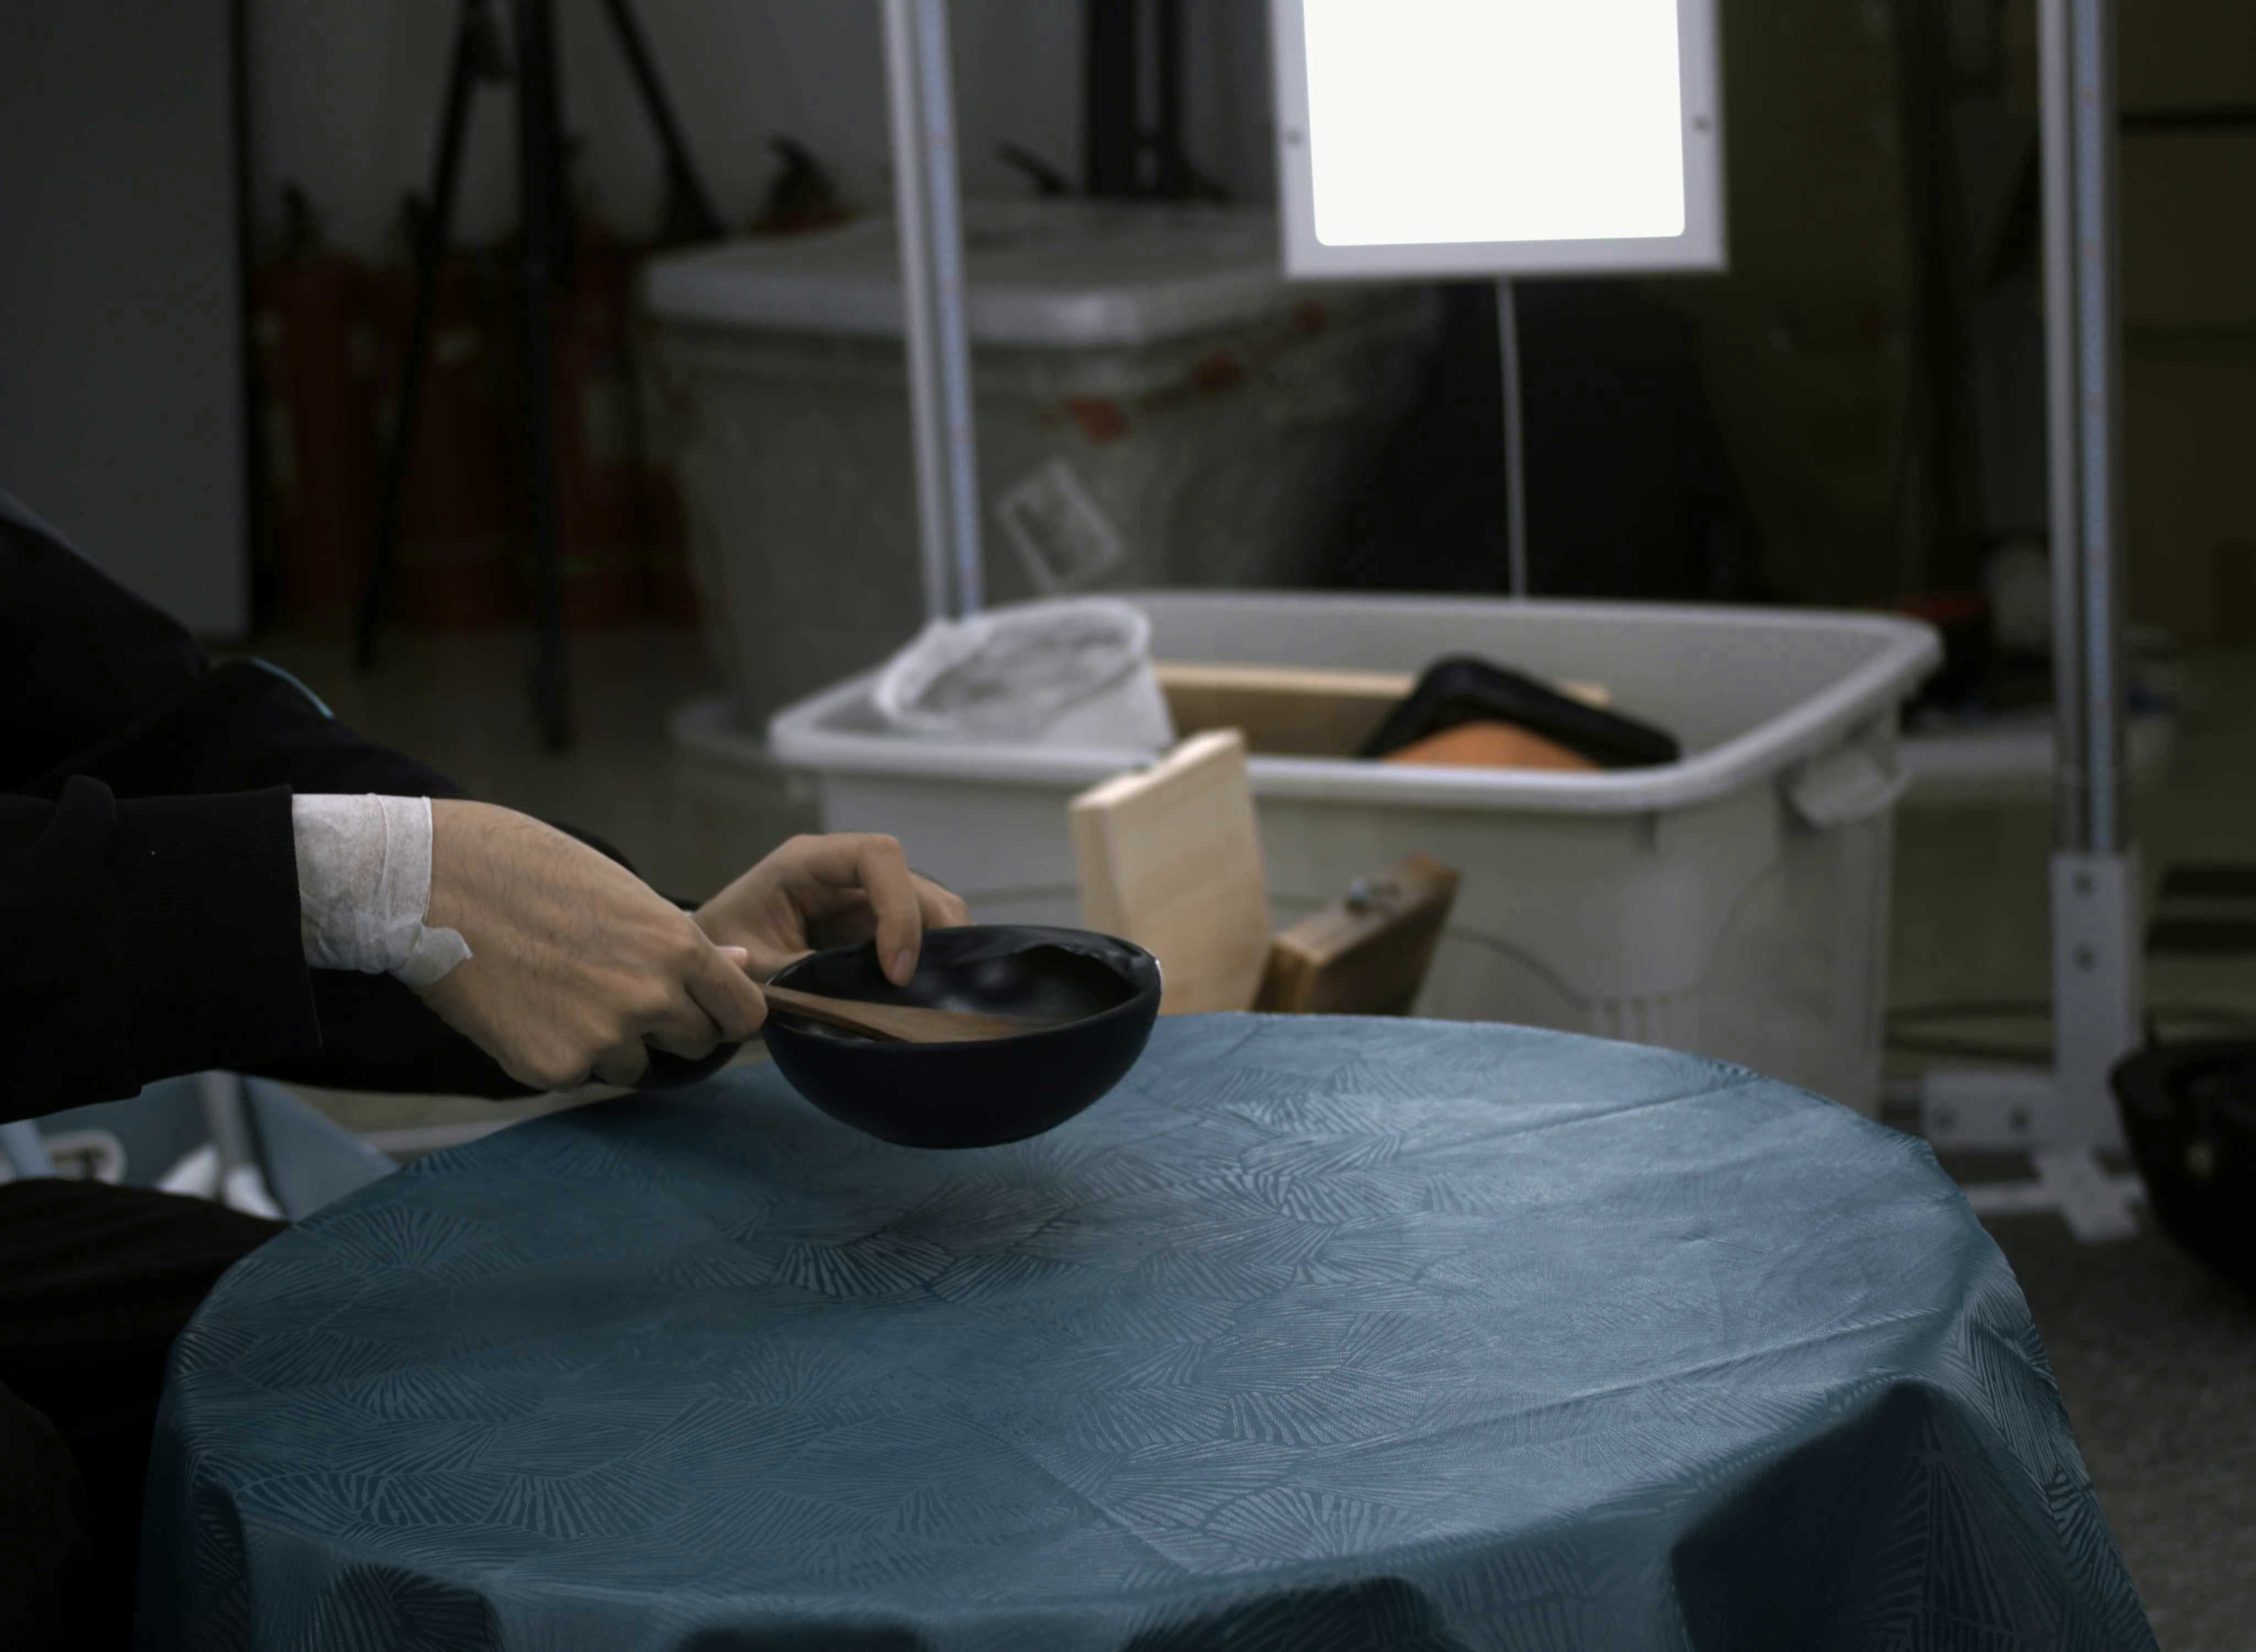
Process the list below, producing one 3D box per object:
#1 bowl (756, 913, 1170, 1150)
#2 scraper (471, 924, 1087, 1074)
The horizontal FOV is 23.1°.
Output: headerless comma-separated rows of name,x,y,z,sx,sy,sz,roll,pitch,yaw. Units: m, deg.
bowl,-0.055,0.074,1.863,0.139,0.050,0.140,-4,18,0
scraper,-0.116,0.057,1.844,0.210,0.011,0.076,12,7,-1
